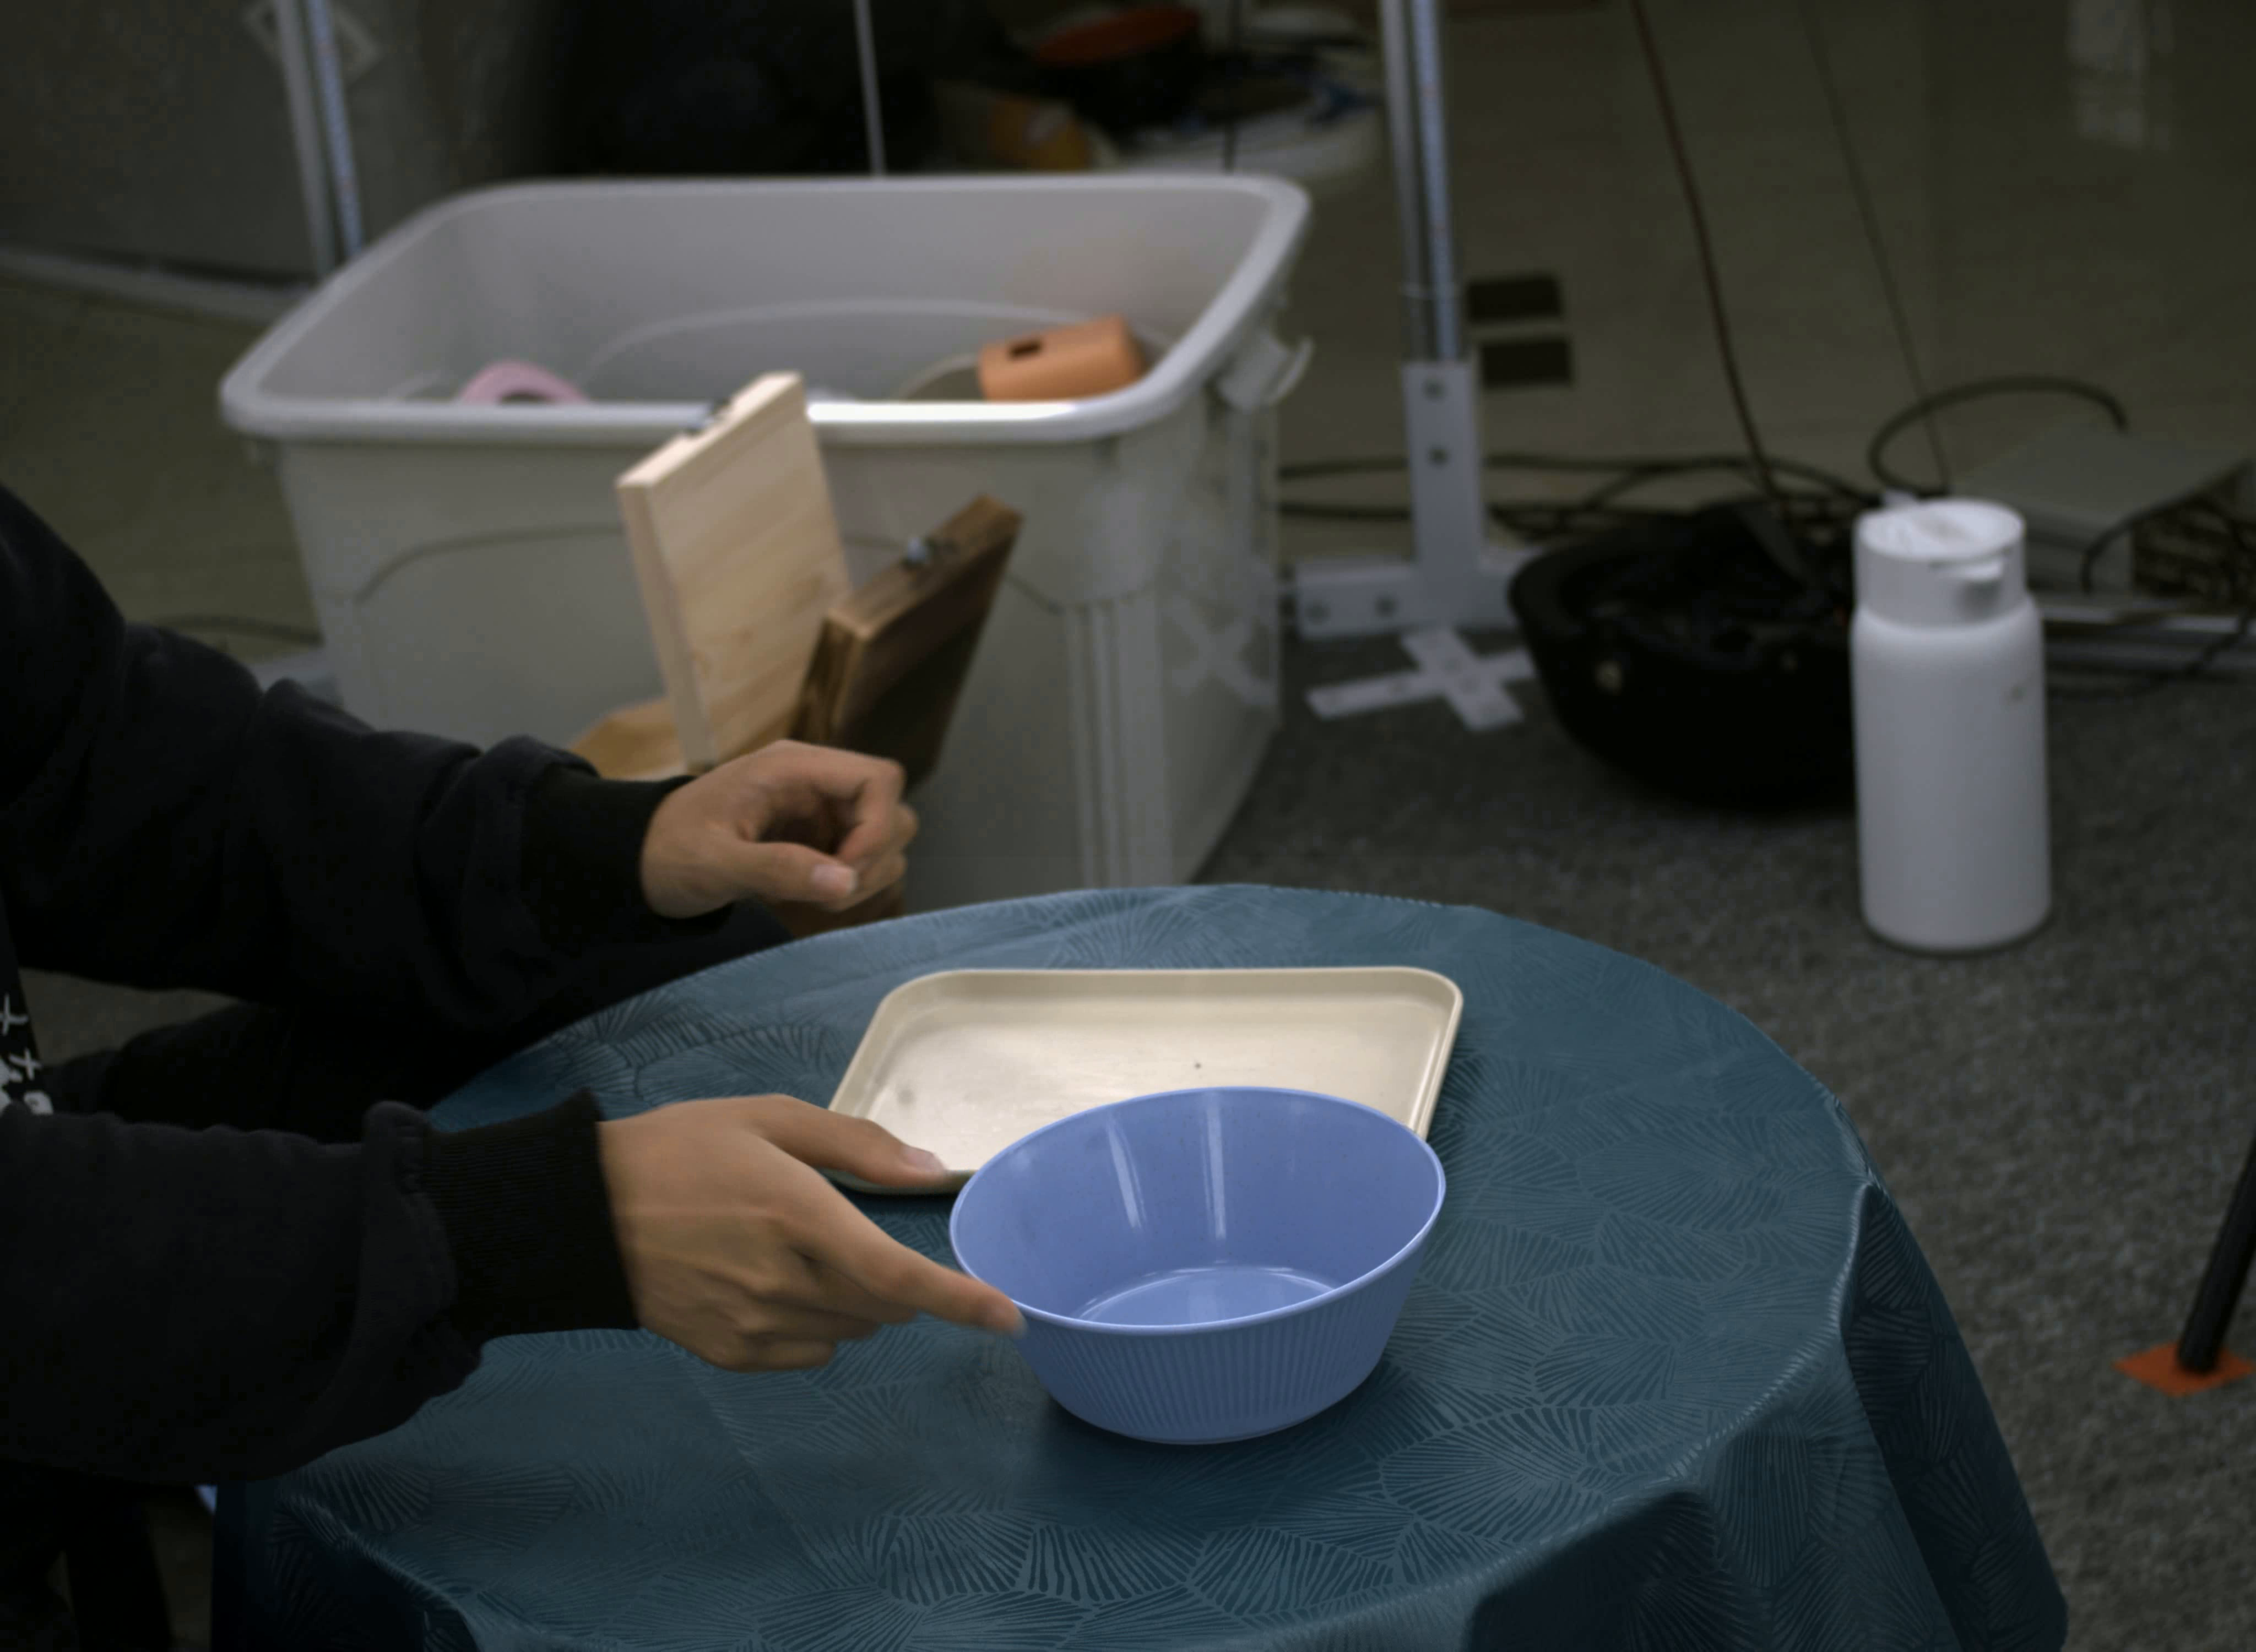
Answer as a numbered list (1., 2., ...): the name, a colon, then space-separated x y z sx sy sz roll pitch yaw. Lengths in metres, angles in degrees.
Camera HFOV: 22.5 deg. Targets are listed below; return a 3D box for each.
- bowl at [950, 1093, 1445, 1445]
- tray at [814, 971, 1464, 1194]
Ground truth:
1. bowl: 0.028 0.163 2.010 0.176 0.071 0.173 -5 24 3
2. tray: 0.007 0.101 2.212 0.239 0.018 0.169 -1 25 13
